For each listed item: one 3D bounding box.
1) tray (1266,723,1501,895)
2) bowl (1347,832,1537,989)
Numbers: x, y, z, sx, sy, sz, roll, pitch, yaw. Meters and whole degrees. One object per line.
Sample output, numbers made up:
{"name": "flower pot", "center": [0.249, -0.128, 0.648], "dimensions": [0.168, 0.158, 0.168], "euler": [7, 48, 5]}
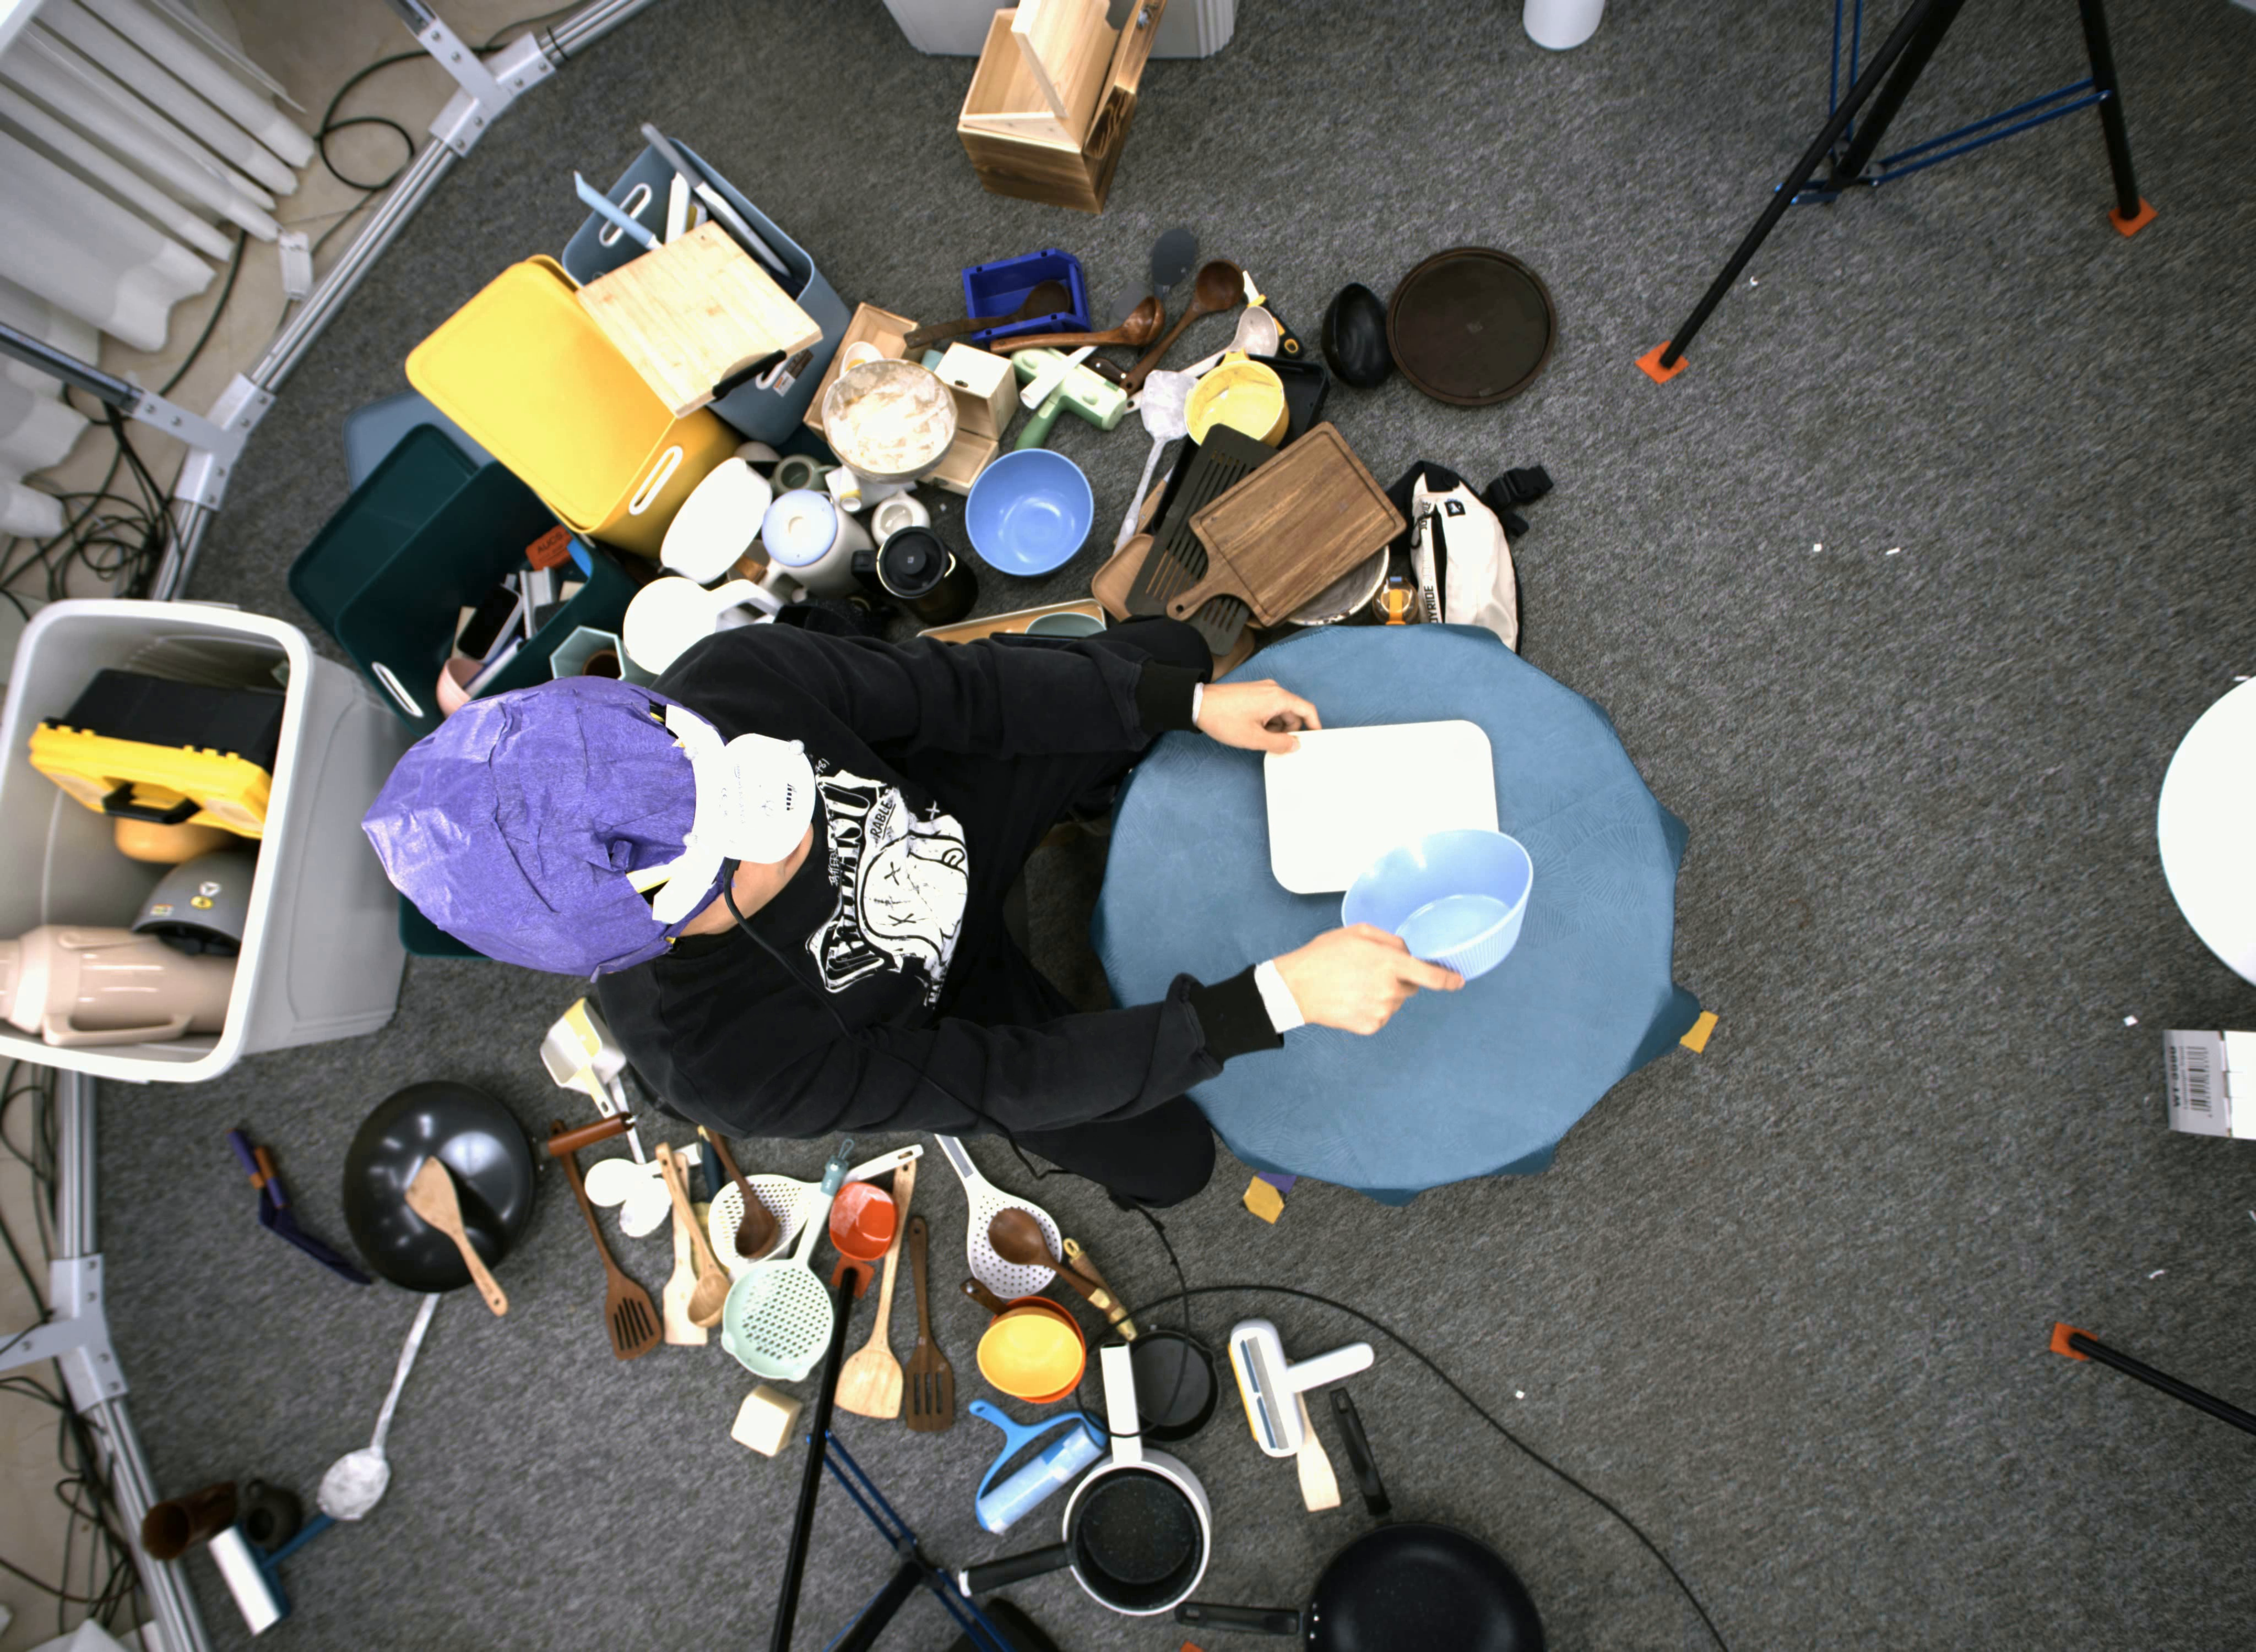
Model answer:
{"name": "tray", "center": [0.267, -0.019, 1.445], "dimensions": [0.240, 0.017, 0.170], "euler": [-4, 86, 1]}
{"name": "bowl", "center": [0.292, 0.084, 1.256], "dimensions": [0.177, 0.172, 0.071], "euler": [-24, 121, 7]}
